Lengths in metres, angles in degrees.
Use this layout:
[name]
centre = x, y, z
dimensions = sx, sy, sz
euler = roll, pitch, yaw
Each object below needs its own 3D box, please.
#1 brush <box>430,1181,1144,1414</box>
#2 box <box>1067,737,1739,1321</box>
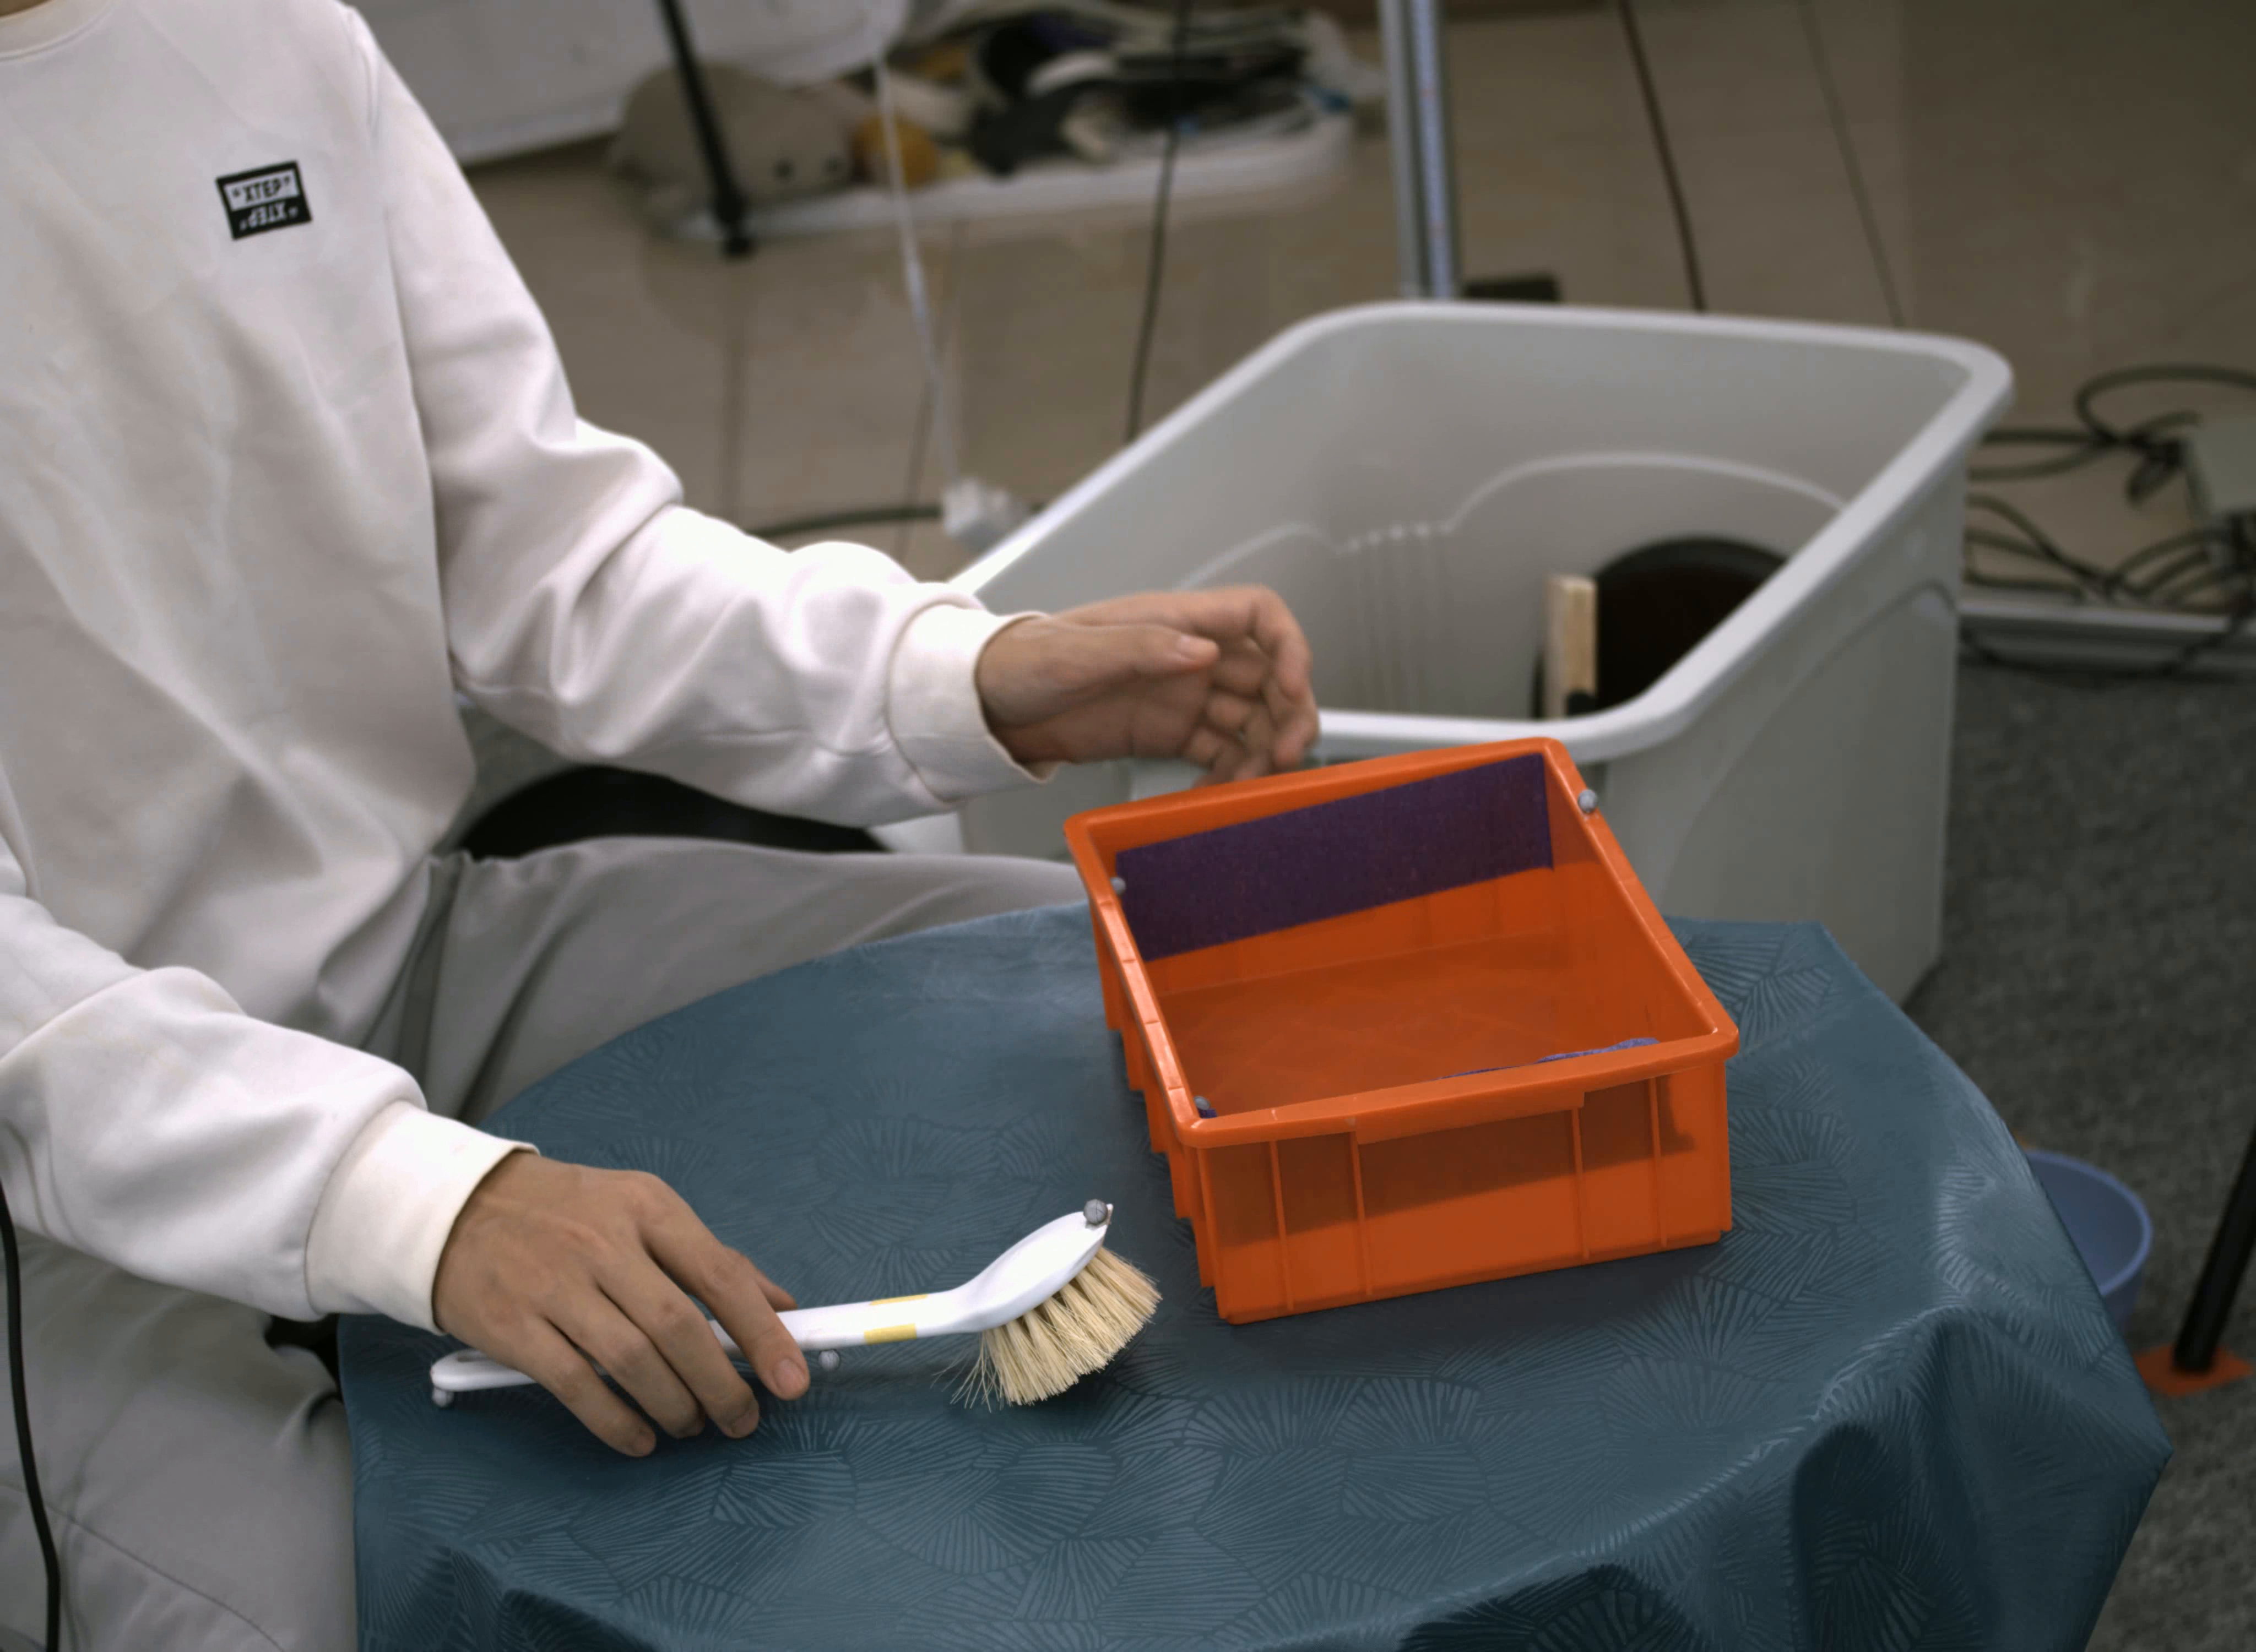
[brush]
centre = -0.120, 0.191, 2.043
dimensions = 0.266, 0.056, 0.068
euler = -18, 8, 10
[box]
centre = 0.101, 0.076, 2.154
dimensions = 0.206, 0.098, 0.299
euler = -9, 23, -5
